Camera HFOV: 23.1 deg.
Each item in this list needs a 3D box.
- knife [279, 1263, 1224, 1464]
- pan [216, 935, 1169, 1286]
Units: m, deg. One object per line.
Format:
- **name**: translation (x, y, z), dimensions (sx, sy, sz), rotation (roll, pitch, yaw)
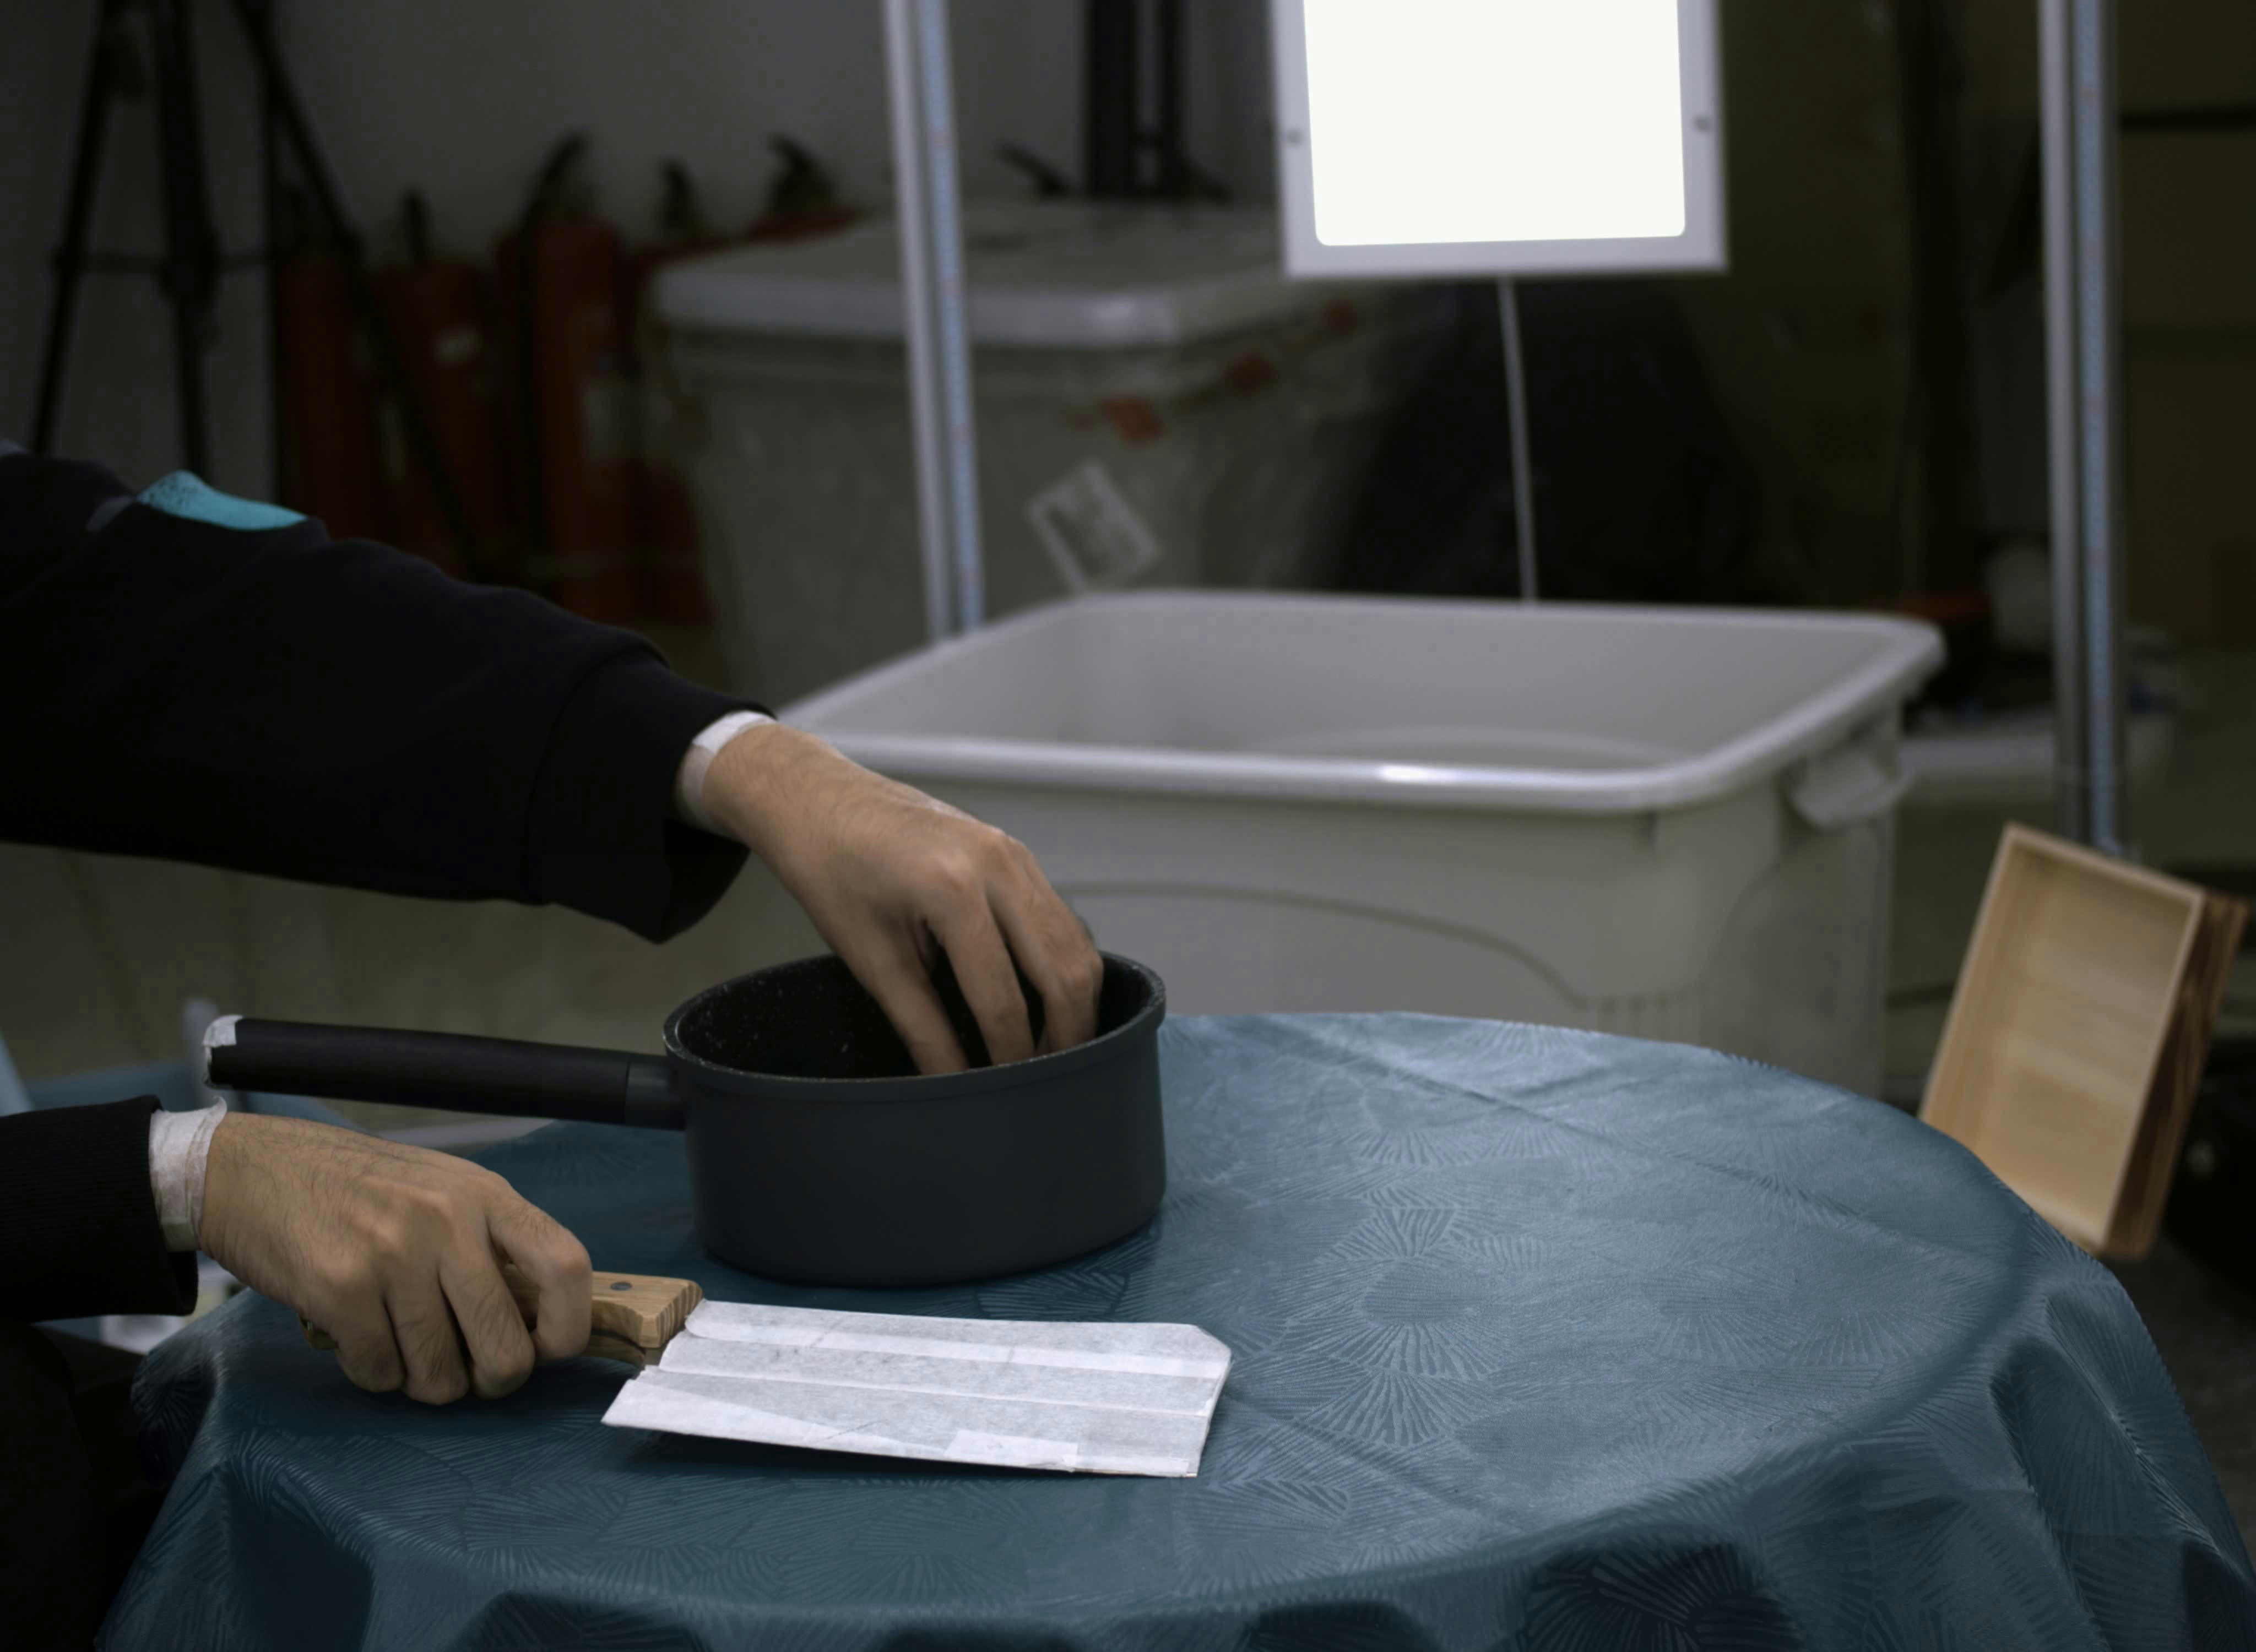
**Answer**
- **knife**: translation (-0.118, 0.164, 1.713), dimensions (0.319, 0.022, 0.112), rotation (5, 22, 18)
- **pan**: translation (-0.148, 0.099, 1.887), dimensions (0.329, 0.087, 0.171), rotation (-3, 12, 6)
